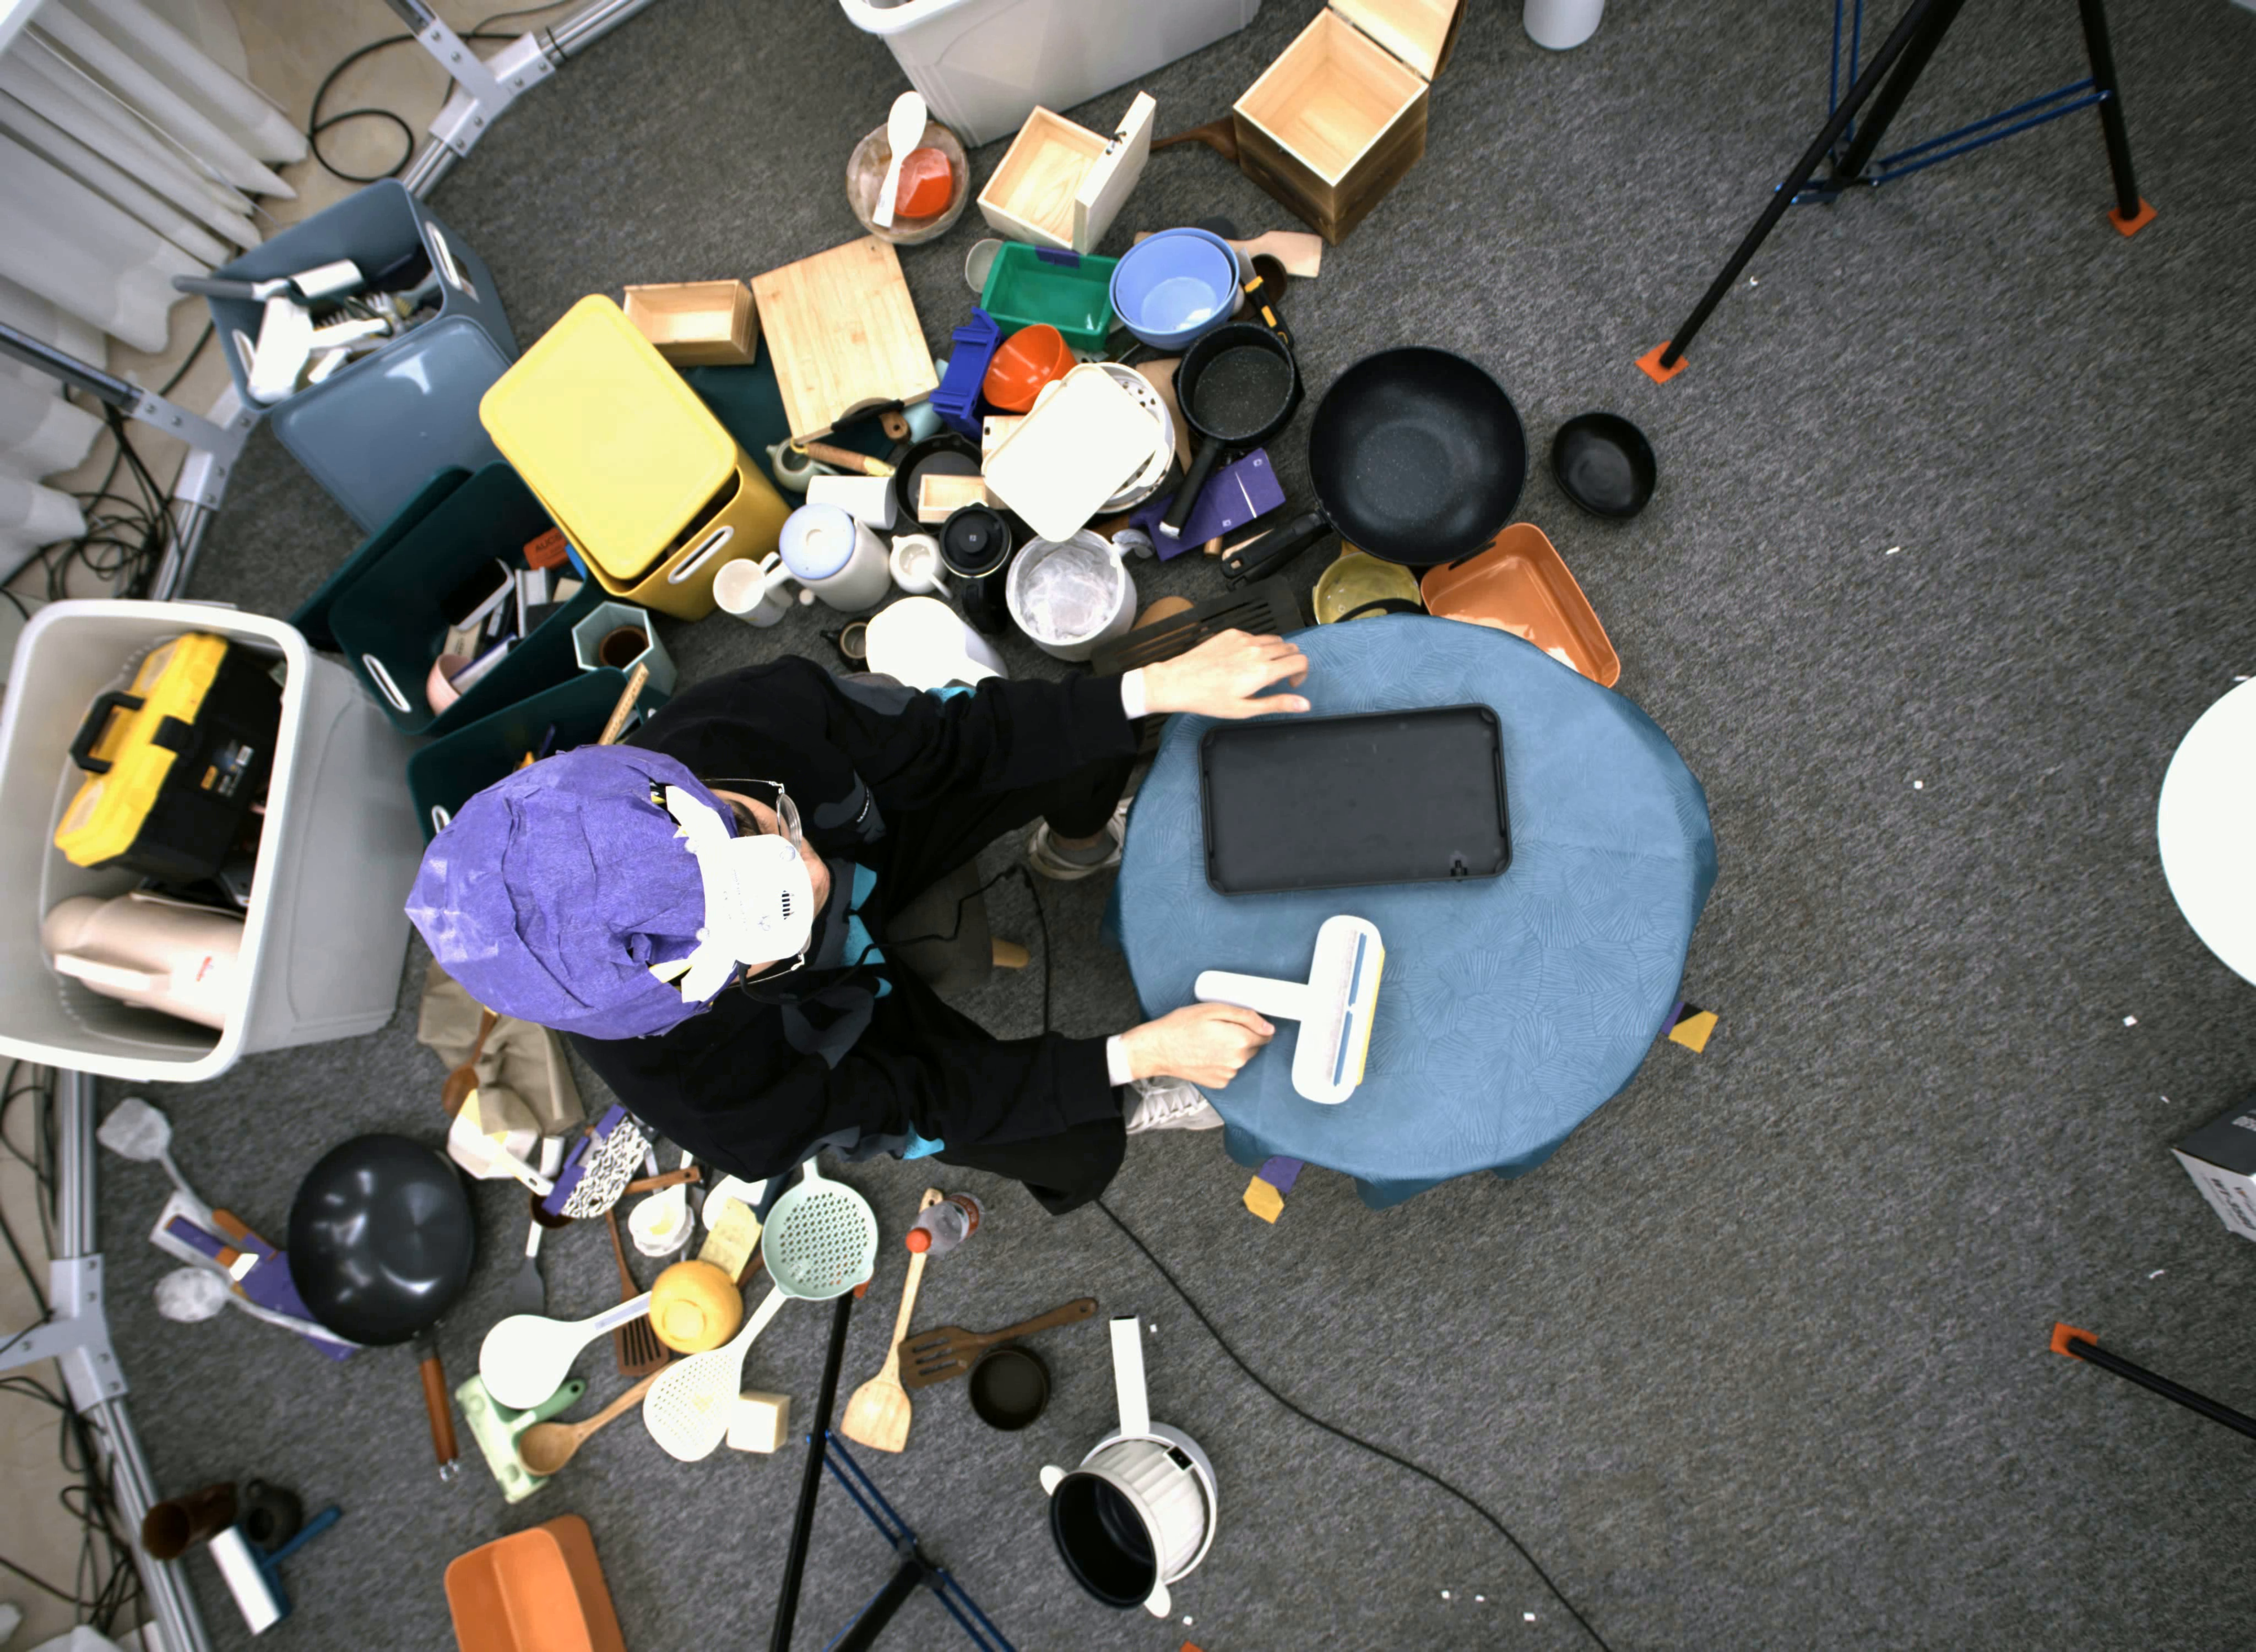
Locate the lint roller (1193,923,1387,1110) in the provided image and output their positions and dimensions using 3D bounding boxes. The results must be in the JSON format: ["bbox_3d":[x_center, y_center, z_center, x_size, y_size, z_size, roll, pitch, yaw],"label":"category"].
[{"bbox_3d":[0.158,0.181,1.436,0.193,0.074,0.191,14,84,12],"label":"lint roller"}]

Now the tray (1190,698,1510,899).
[{"bbox_3d":[0.230,-0.028,1.449,0.319,0.037,0.183,-6,86,10],"label":"tray"}]
